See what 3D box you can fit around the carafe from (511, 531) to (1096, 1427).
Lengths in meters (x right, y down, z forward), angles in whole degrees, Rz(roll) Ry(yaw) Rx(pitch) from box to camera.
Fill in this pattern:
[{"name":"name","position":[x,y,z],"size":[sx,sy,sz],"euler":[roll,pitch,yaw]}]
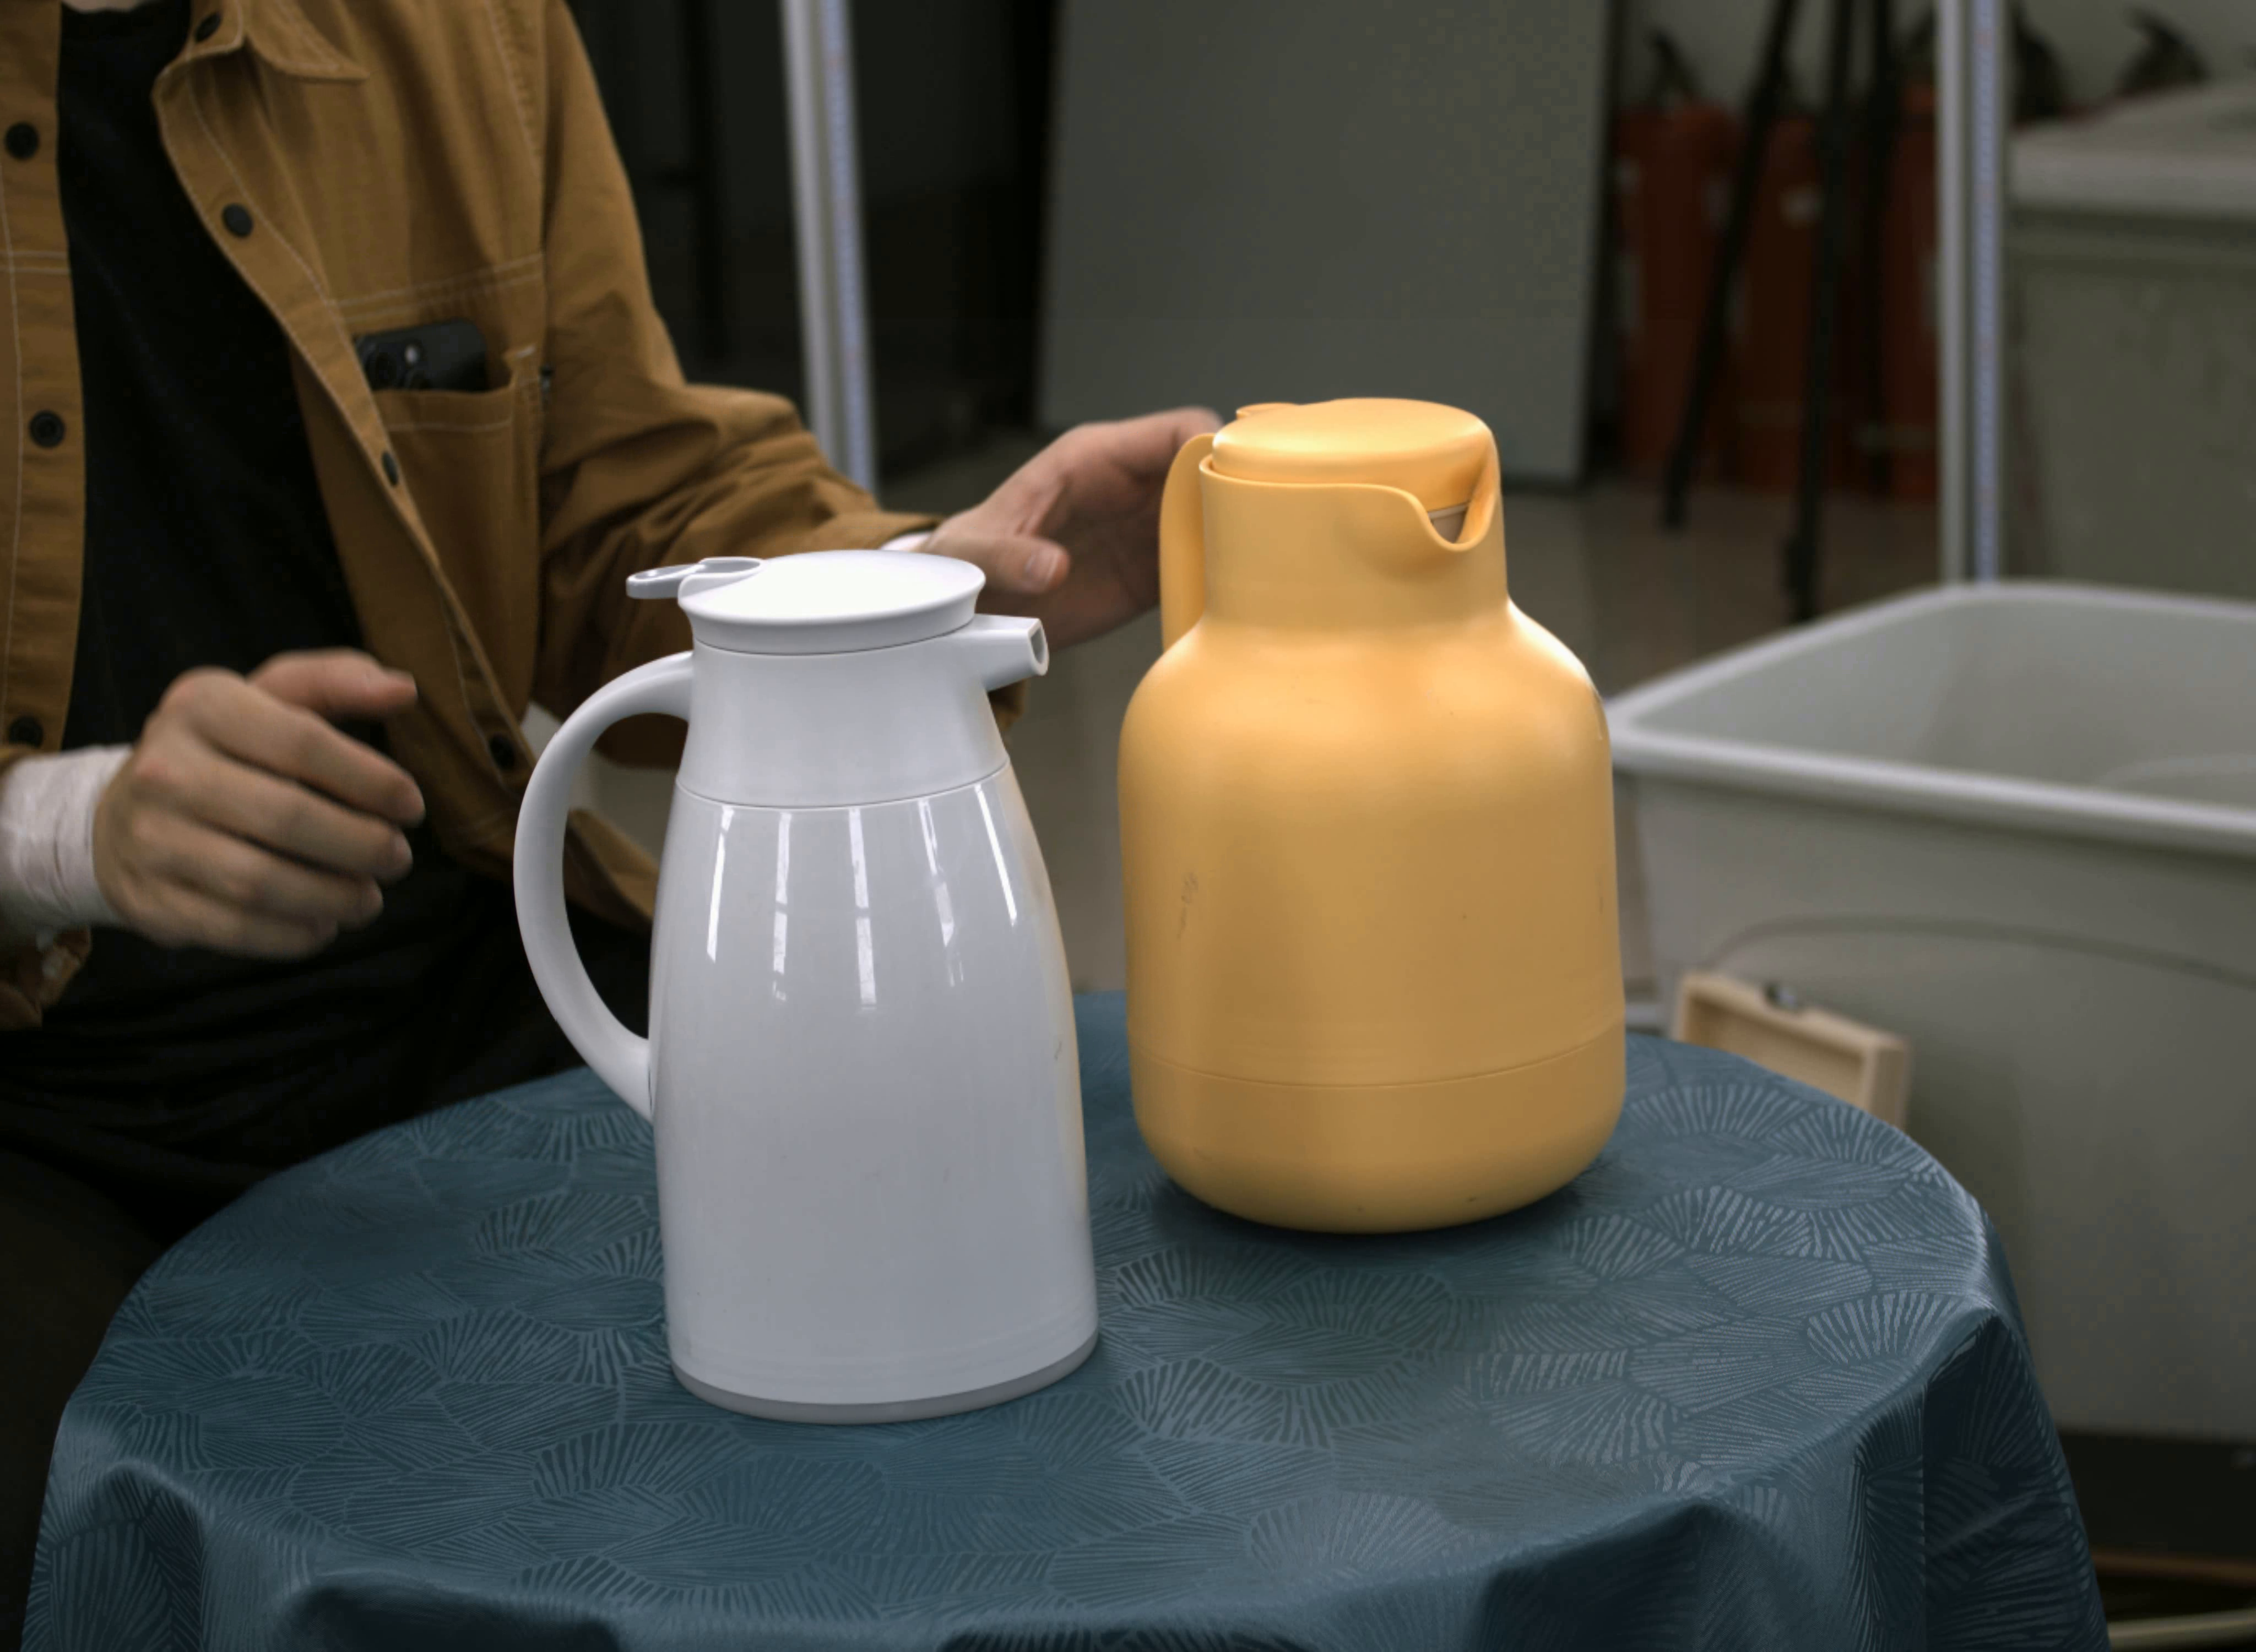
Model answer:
[{"name":"carafe","position":[-0.100,0.040,1.614],"size":[0.166,0.251,0.132],"euler":[-2,13,12]}]

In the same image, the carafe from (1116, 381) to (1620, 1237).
[{"name":"carafe","position":[0.069,-0.013,1.752],"size":[0.160,0.263,0.204],"euler":[-7,15,-21]}]
